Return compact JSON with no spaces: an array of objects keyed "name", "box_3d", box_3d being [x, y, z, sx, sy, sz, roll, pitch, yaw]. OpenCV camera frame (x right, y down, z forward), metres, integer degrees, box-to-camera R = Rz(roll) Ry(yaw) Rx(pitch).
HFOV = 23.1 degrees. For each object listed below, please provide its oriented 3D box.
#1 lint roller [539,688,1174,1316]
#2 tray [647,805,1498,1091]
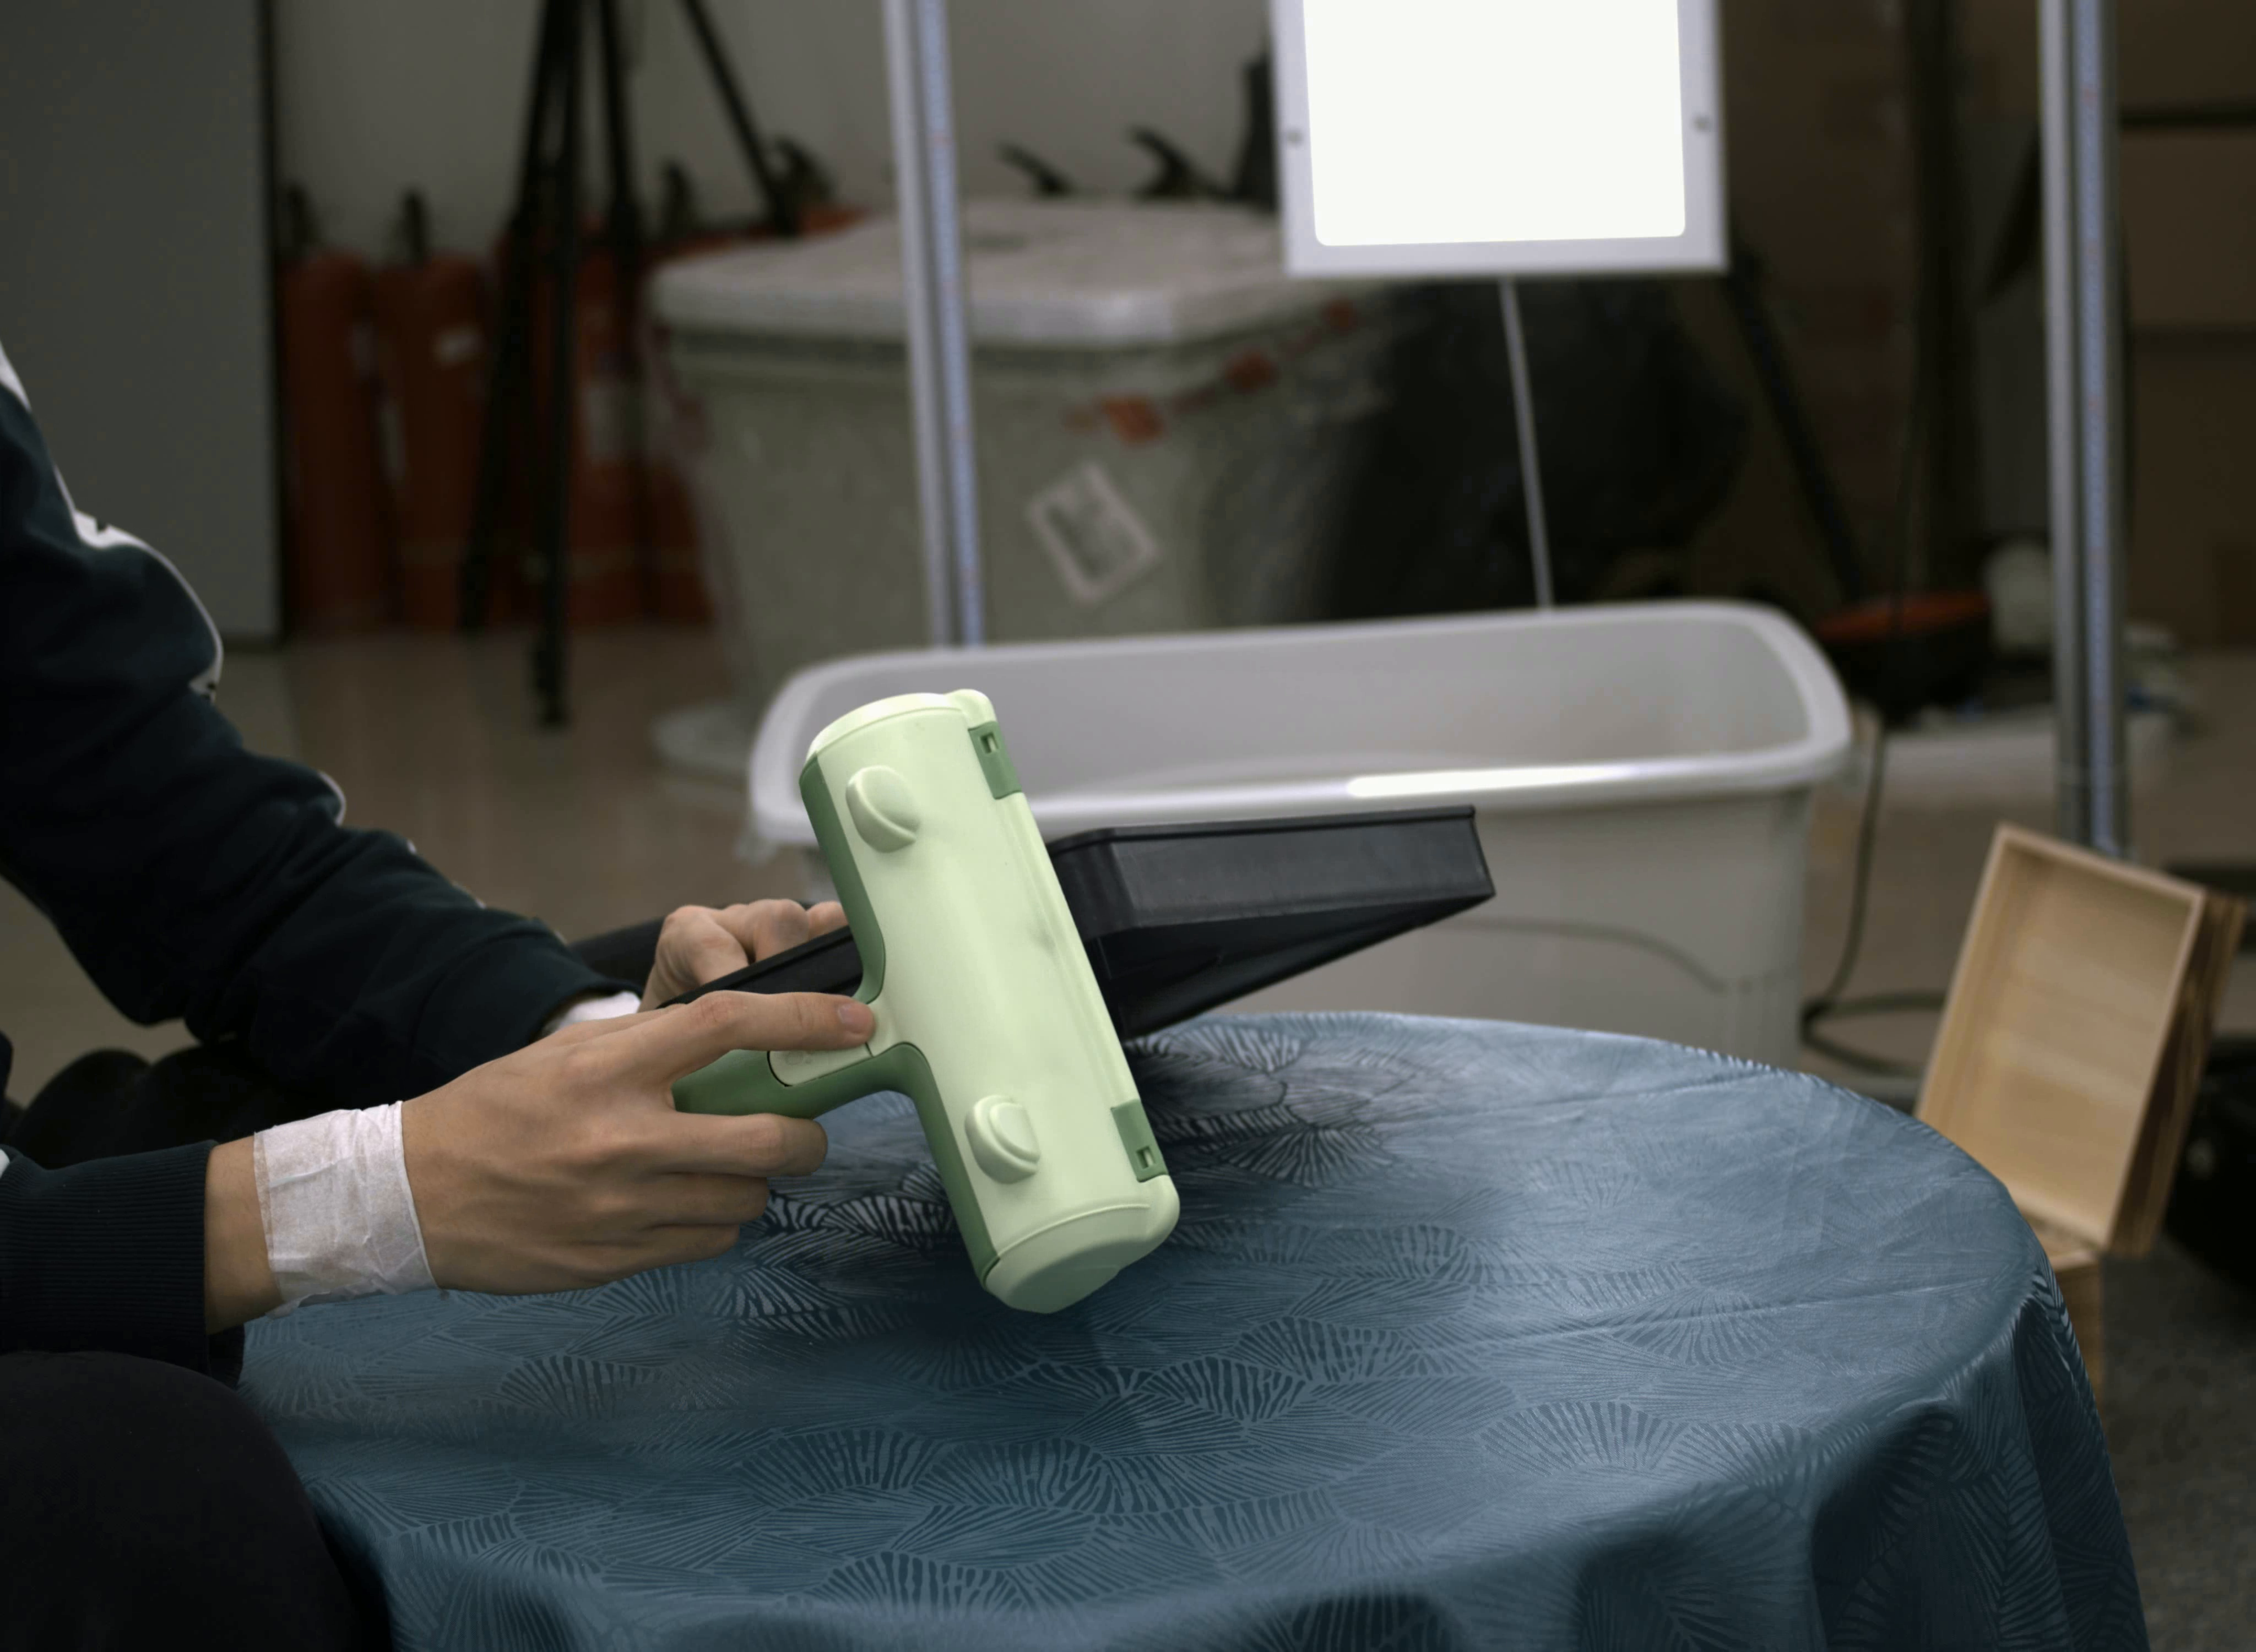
[{"name":"lint roller","box_3d":[-0.101,0.069,1.699,0.183,0.199,0.082,-20,-23,-1]},{"name":"tray","box_3d":[-0.011,0.043,1.902,0.188,0.037,0.311,-23,-9,29]}]
